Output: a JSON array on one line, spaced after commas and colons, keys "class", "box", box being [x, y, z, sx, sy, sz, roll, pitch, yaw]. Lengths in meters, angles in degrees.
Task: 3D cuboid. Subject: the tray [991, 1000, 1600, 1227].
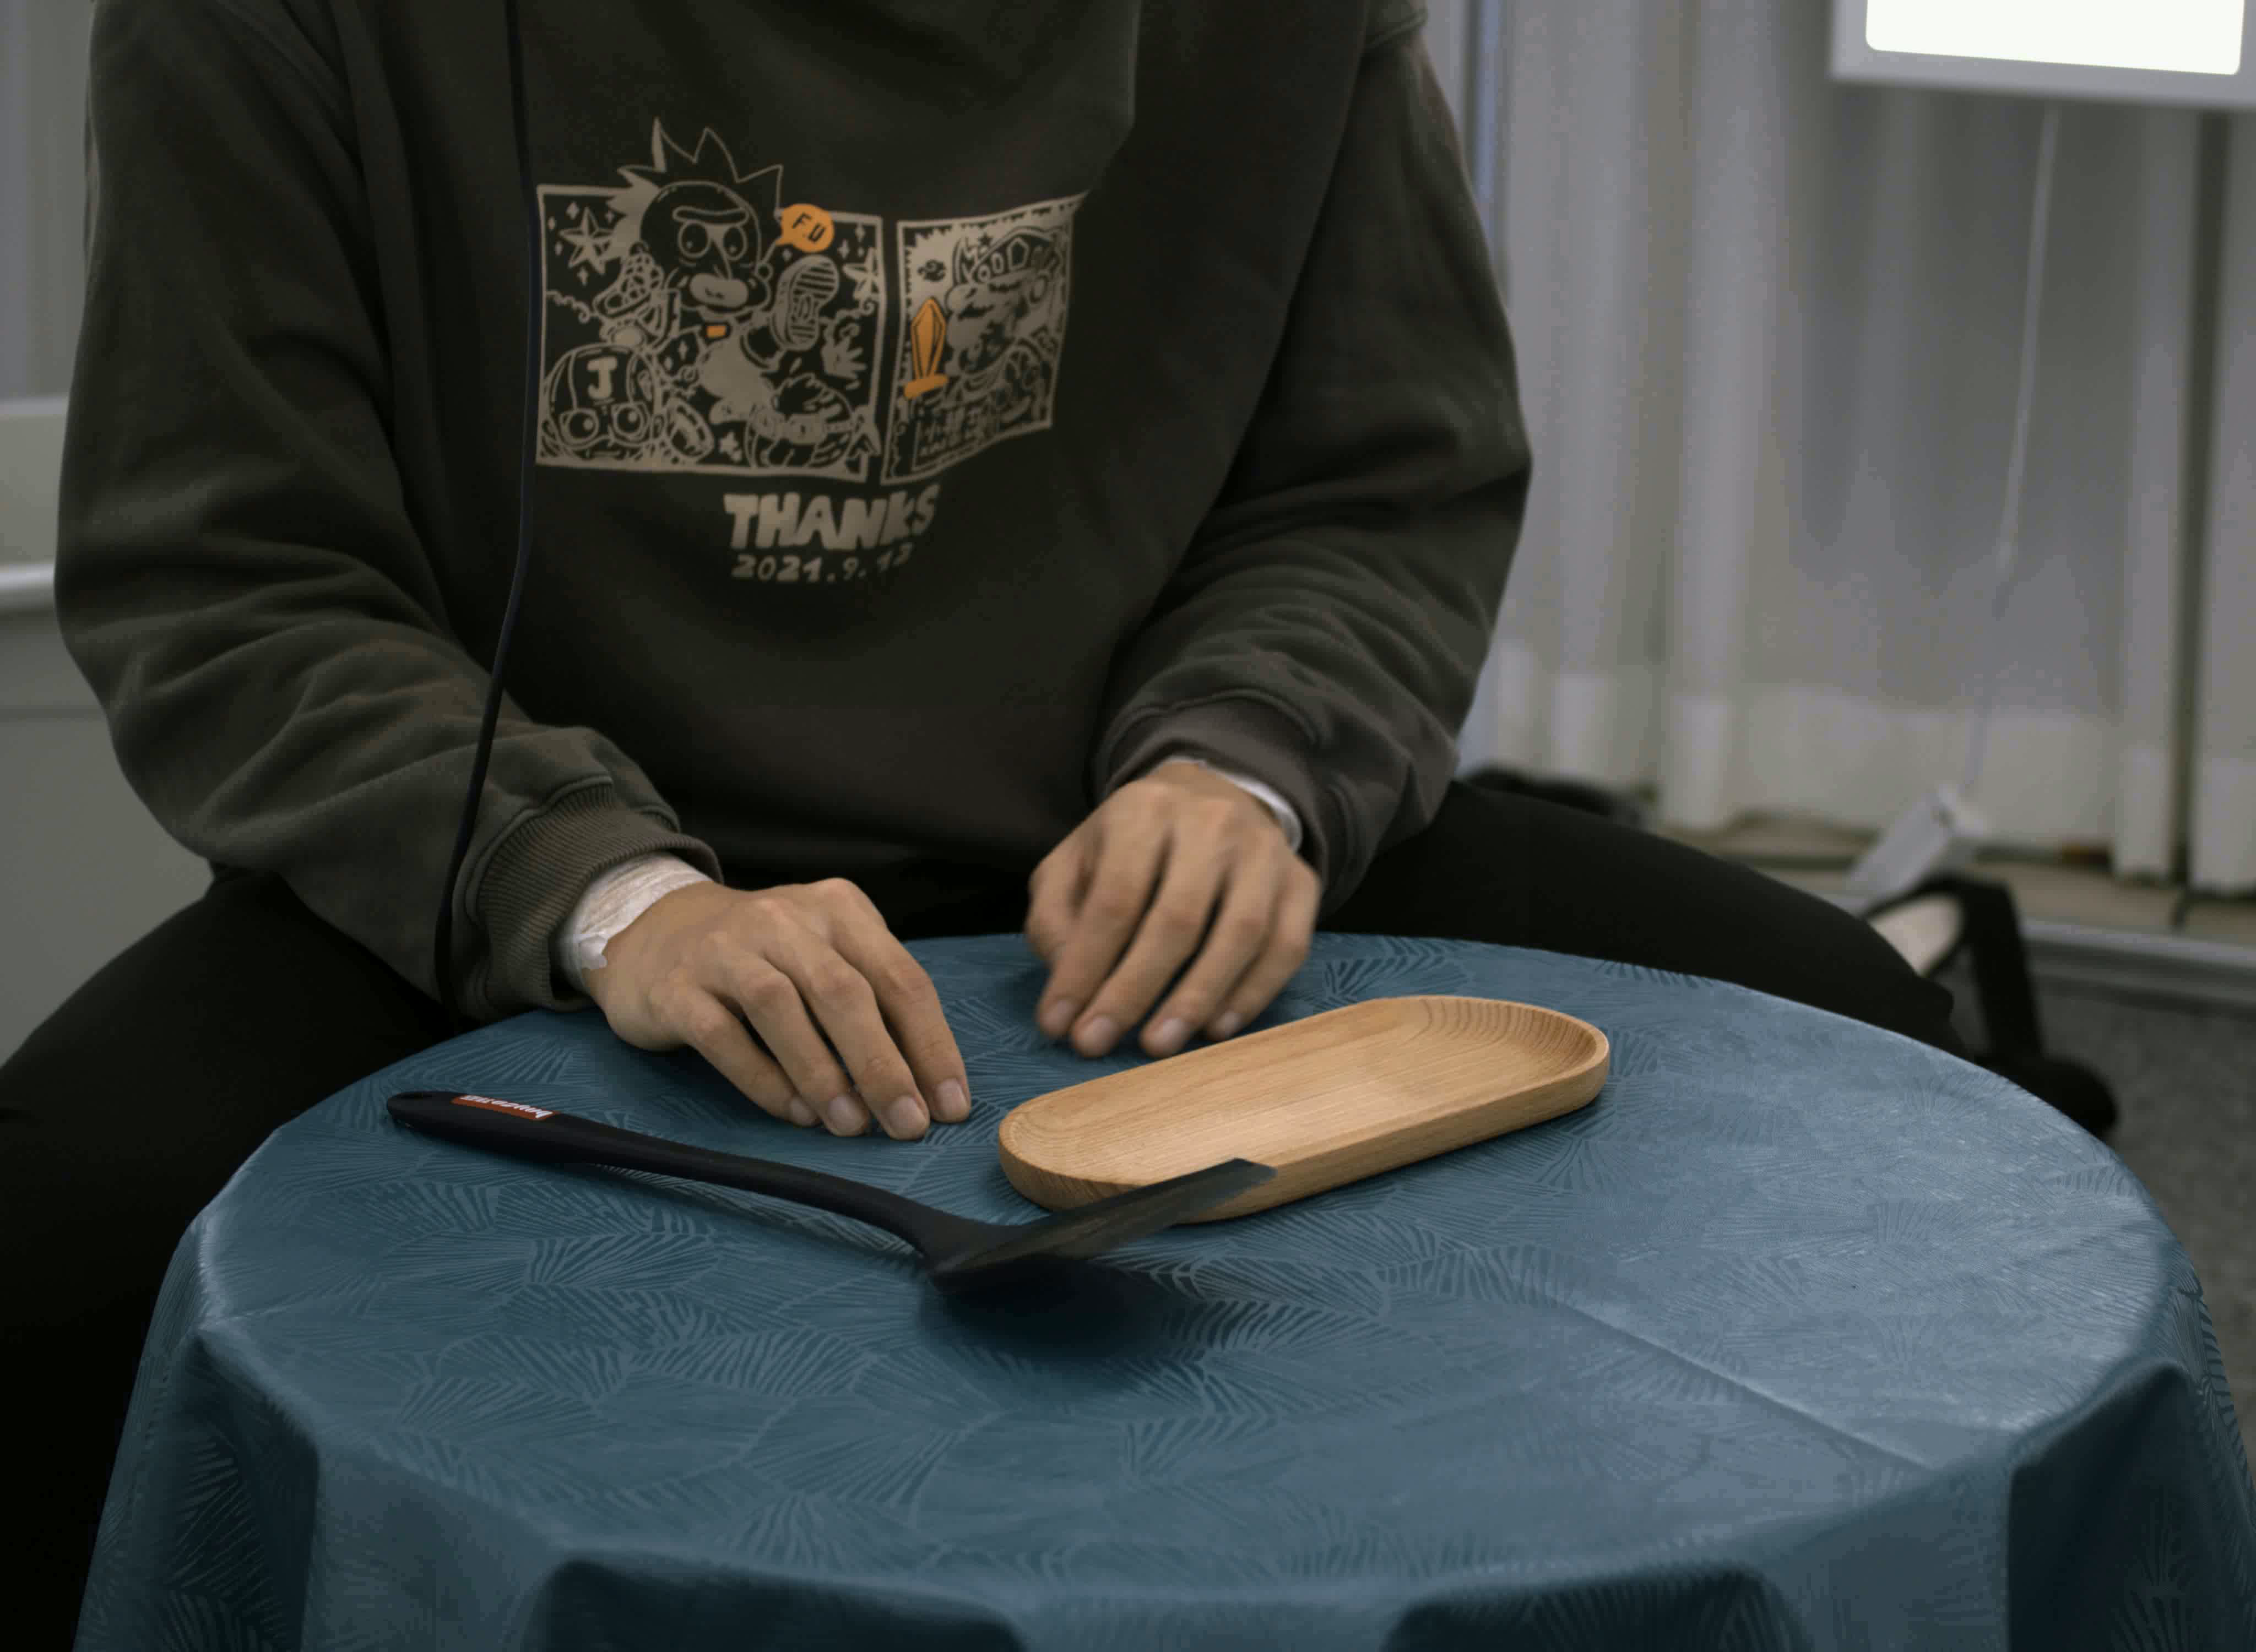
[{"class": "tray", "box": [0.056, 0.091, 1.682, 0.232, 0.020, 0.100, -15, 21, -41]}]

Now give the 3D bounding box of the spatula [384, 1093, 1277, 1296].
[{"class": "spatula", "box": [-0.108, 0.102, 1.597, 0.322, 0.040, 0.100, 12, 18, 35]}]
